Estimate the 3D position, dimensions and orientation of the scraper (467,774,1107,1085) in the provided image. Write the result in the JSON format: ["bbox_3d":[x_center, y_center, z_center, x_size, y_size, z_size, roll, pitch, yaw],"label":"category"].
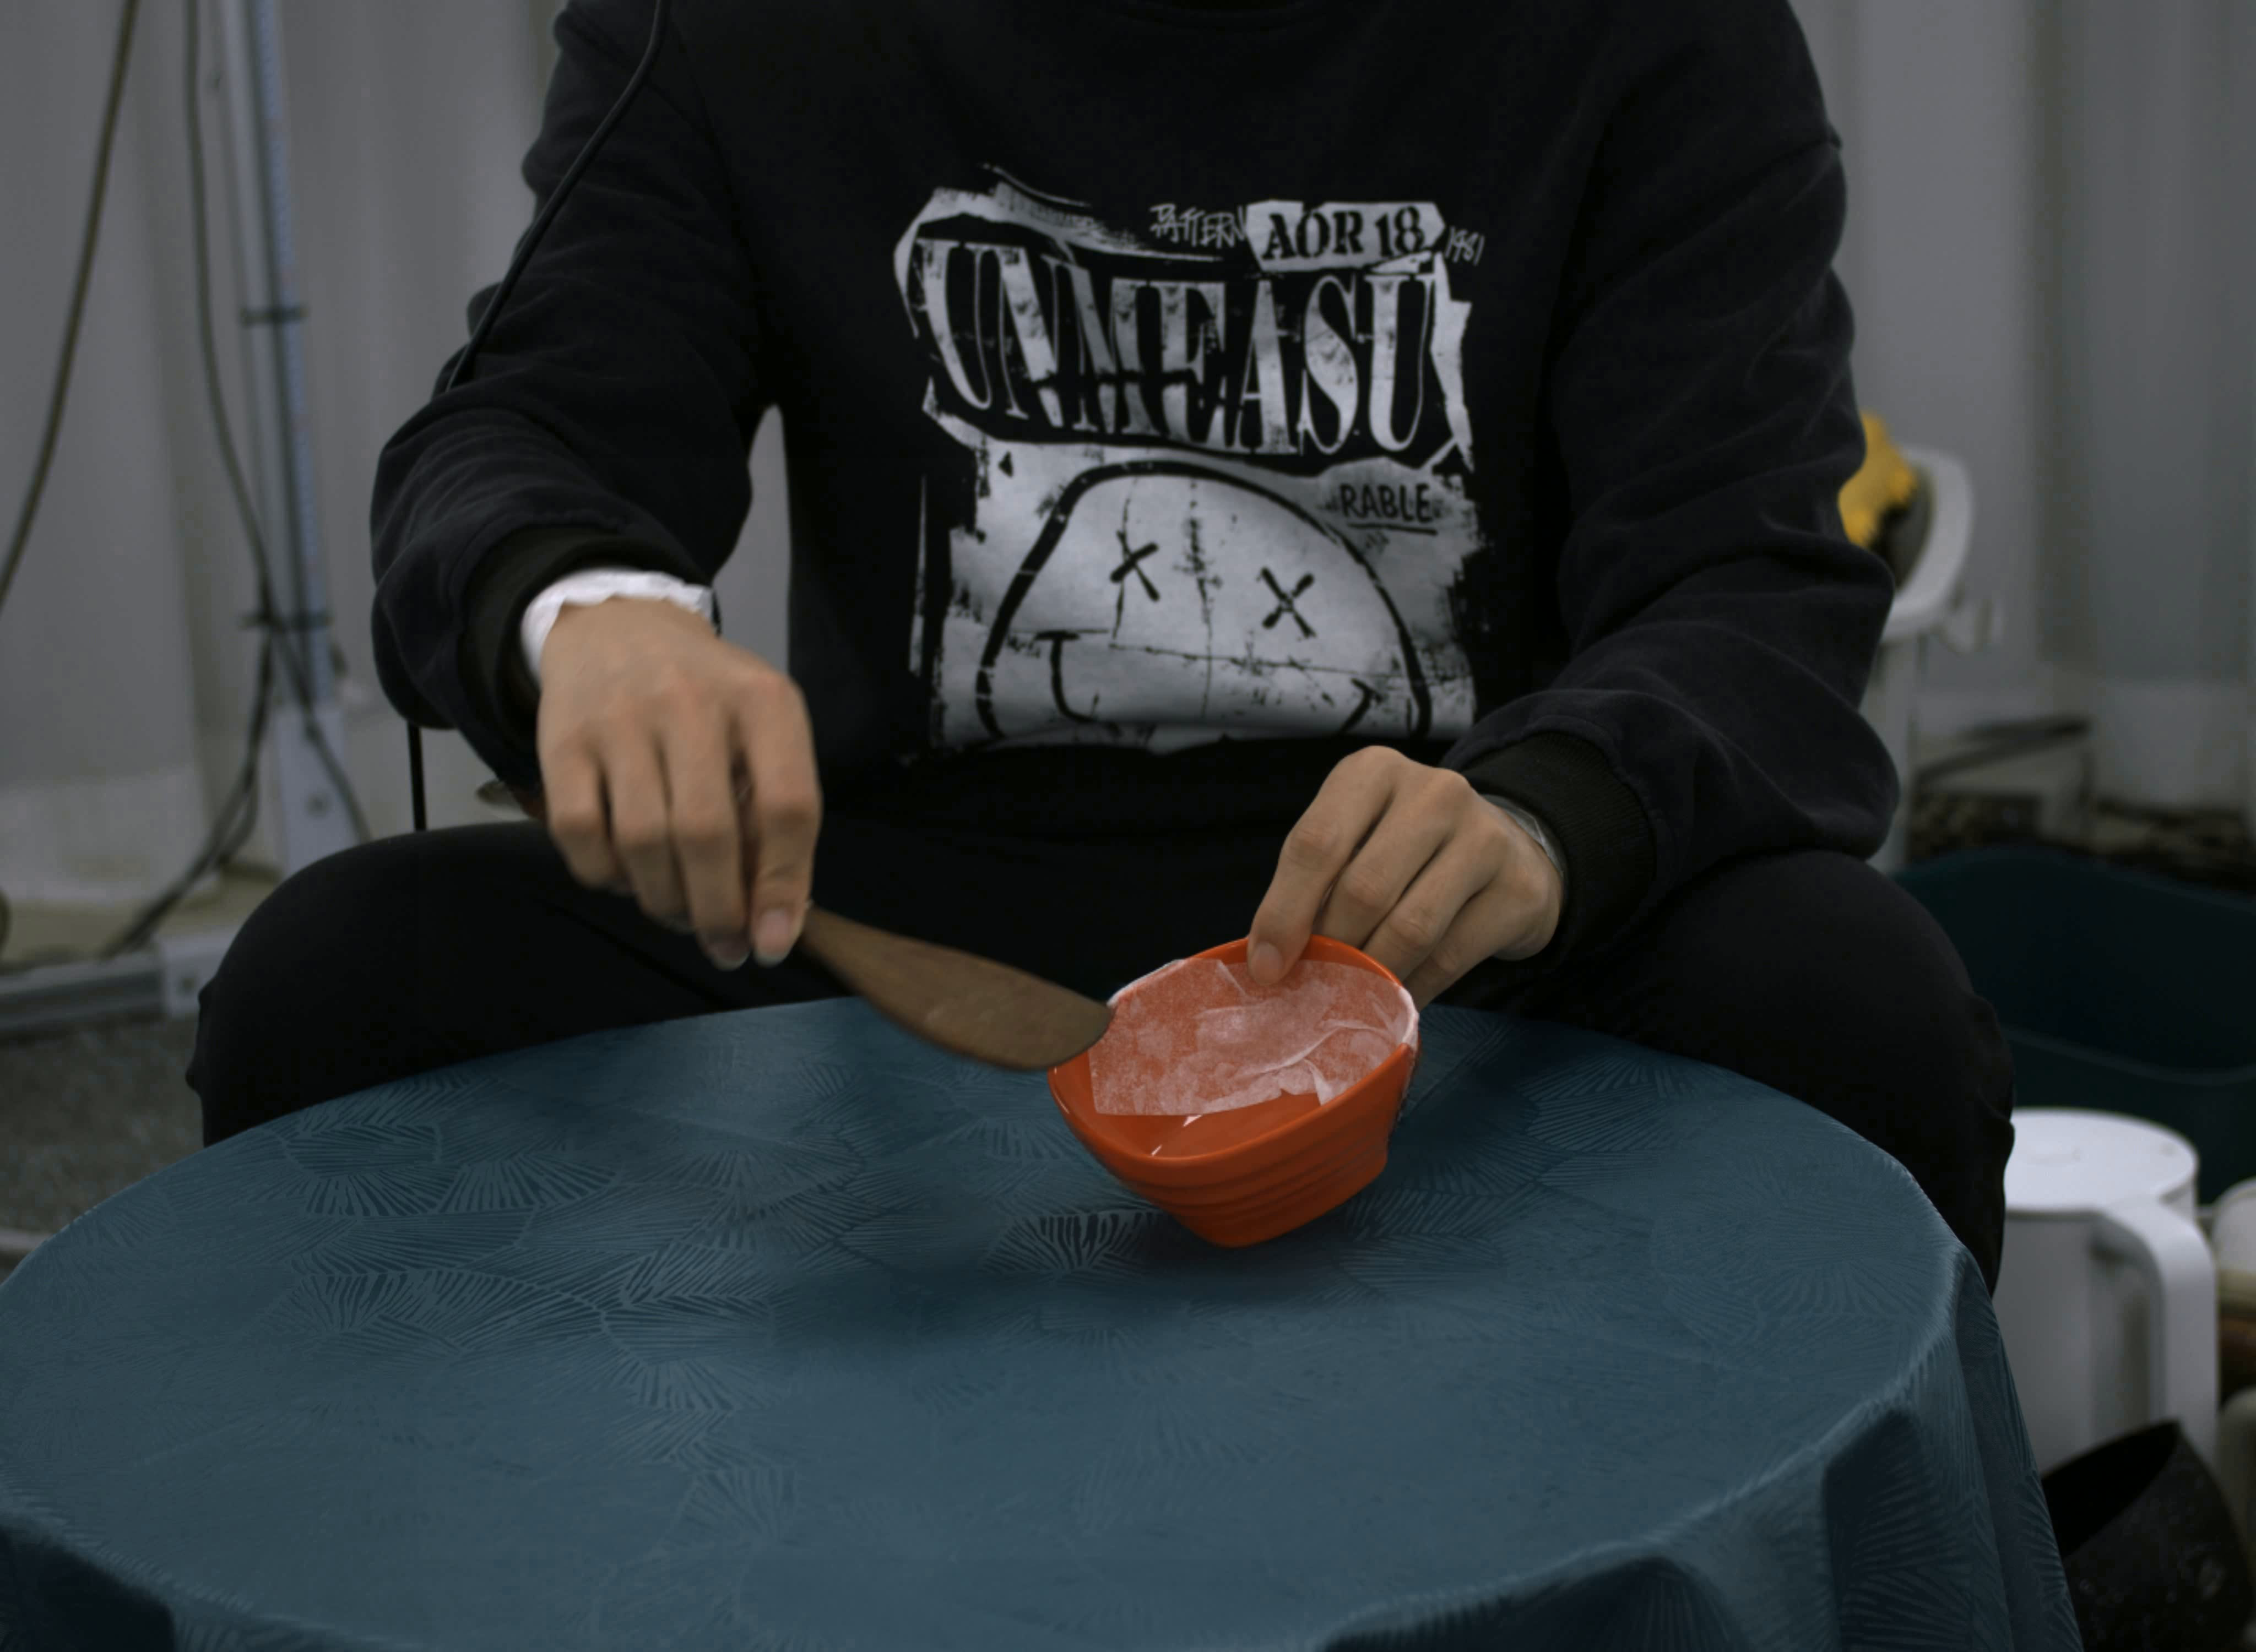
[{"bbox_3d":[-0.107,0.030,1.662,0.212,0.011,0.076,25,22,15],"label":"scraper"}]

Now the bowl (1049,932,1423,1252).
[{"bbox_3d":[0.038,0.087,1.676,0.118,0.051,0.120,-14,31,8],"label":"bowl"}]
